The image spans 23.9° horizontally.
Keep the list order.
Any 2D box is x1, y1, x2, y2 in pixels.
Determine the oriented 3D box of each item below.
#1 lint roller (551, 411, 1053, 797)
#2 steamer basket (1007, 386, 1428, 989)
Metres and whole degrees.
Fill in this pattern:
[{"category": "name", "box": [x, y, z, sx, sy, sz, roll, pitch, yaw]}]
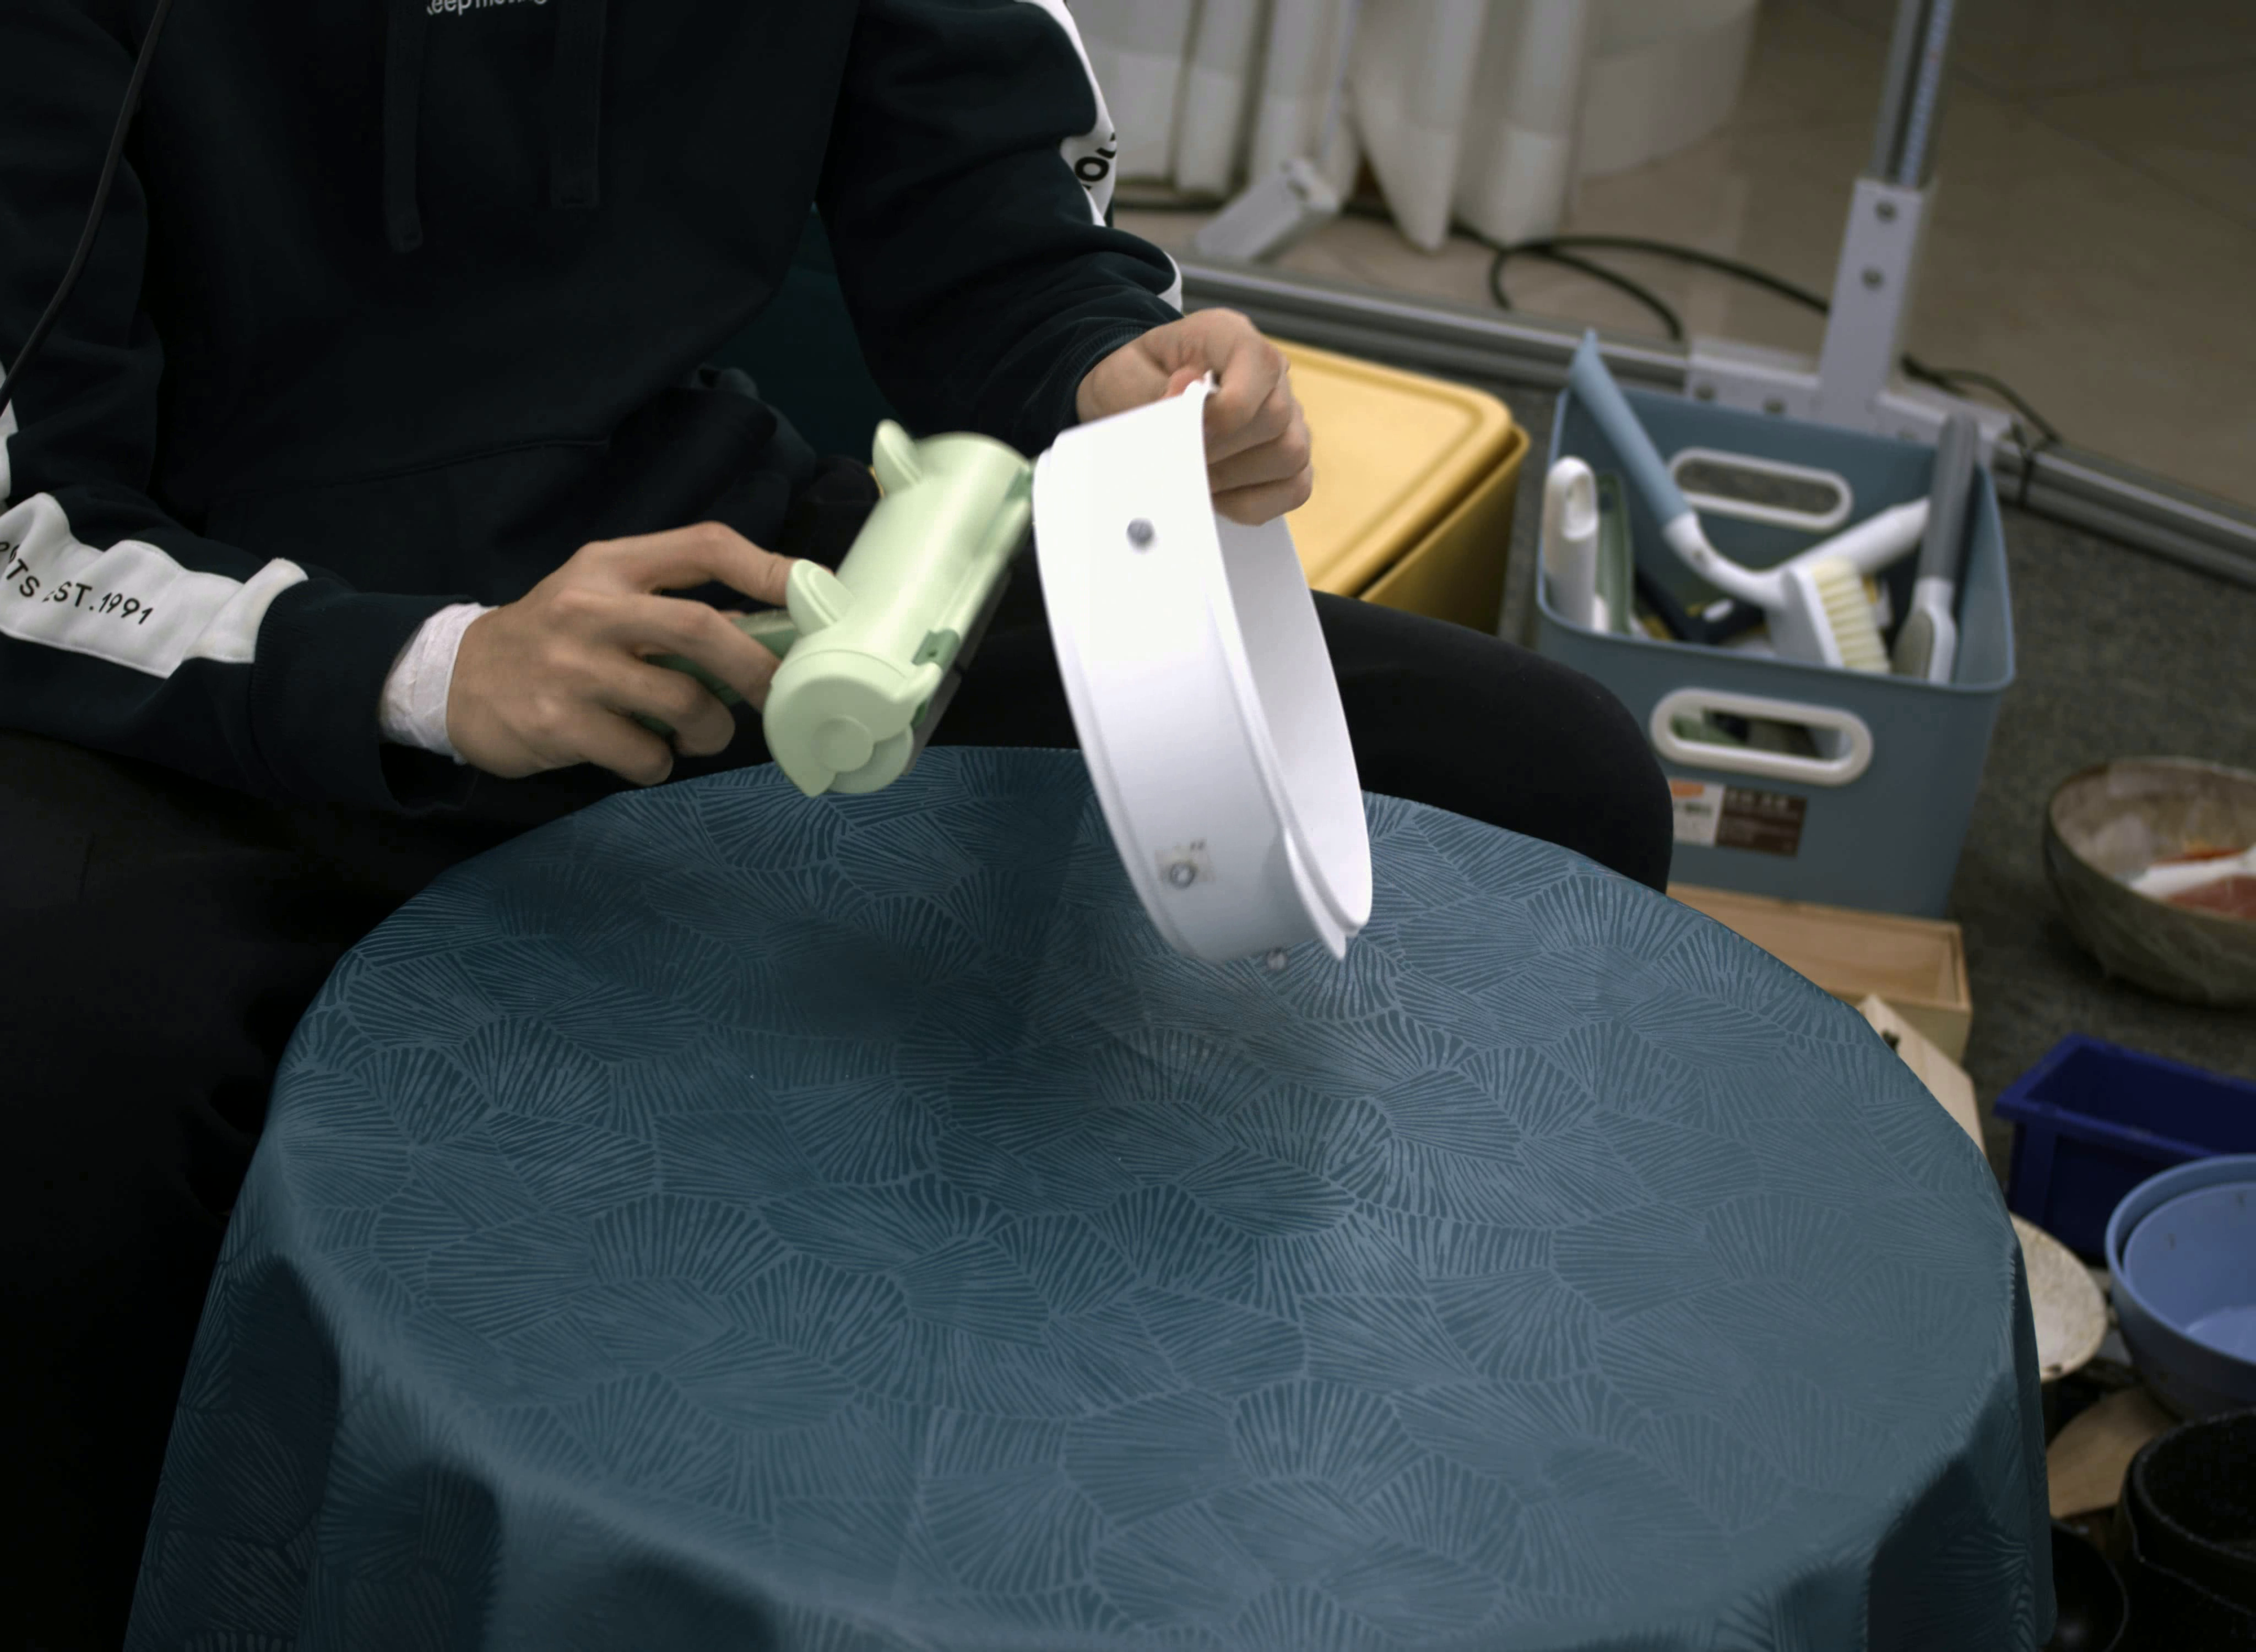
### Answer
[{"category": "lint roller", "box": [-0.131, -0.076, 1.870, 0.183, 0.082, 0.199, -10, 26, 20]}, {"category": "steamer basket", "box": [0.031, -0.042, 1.854, 0.069, 0.200, 0.232, -22, 55, 21]}]
